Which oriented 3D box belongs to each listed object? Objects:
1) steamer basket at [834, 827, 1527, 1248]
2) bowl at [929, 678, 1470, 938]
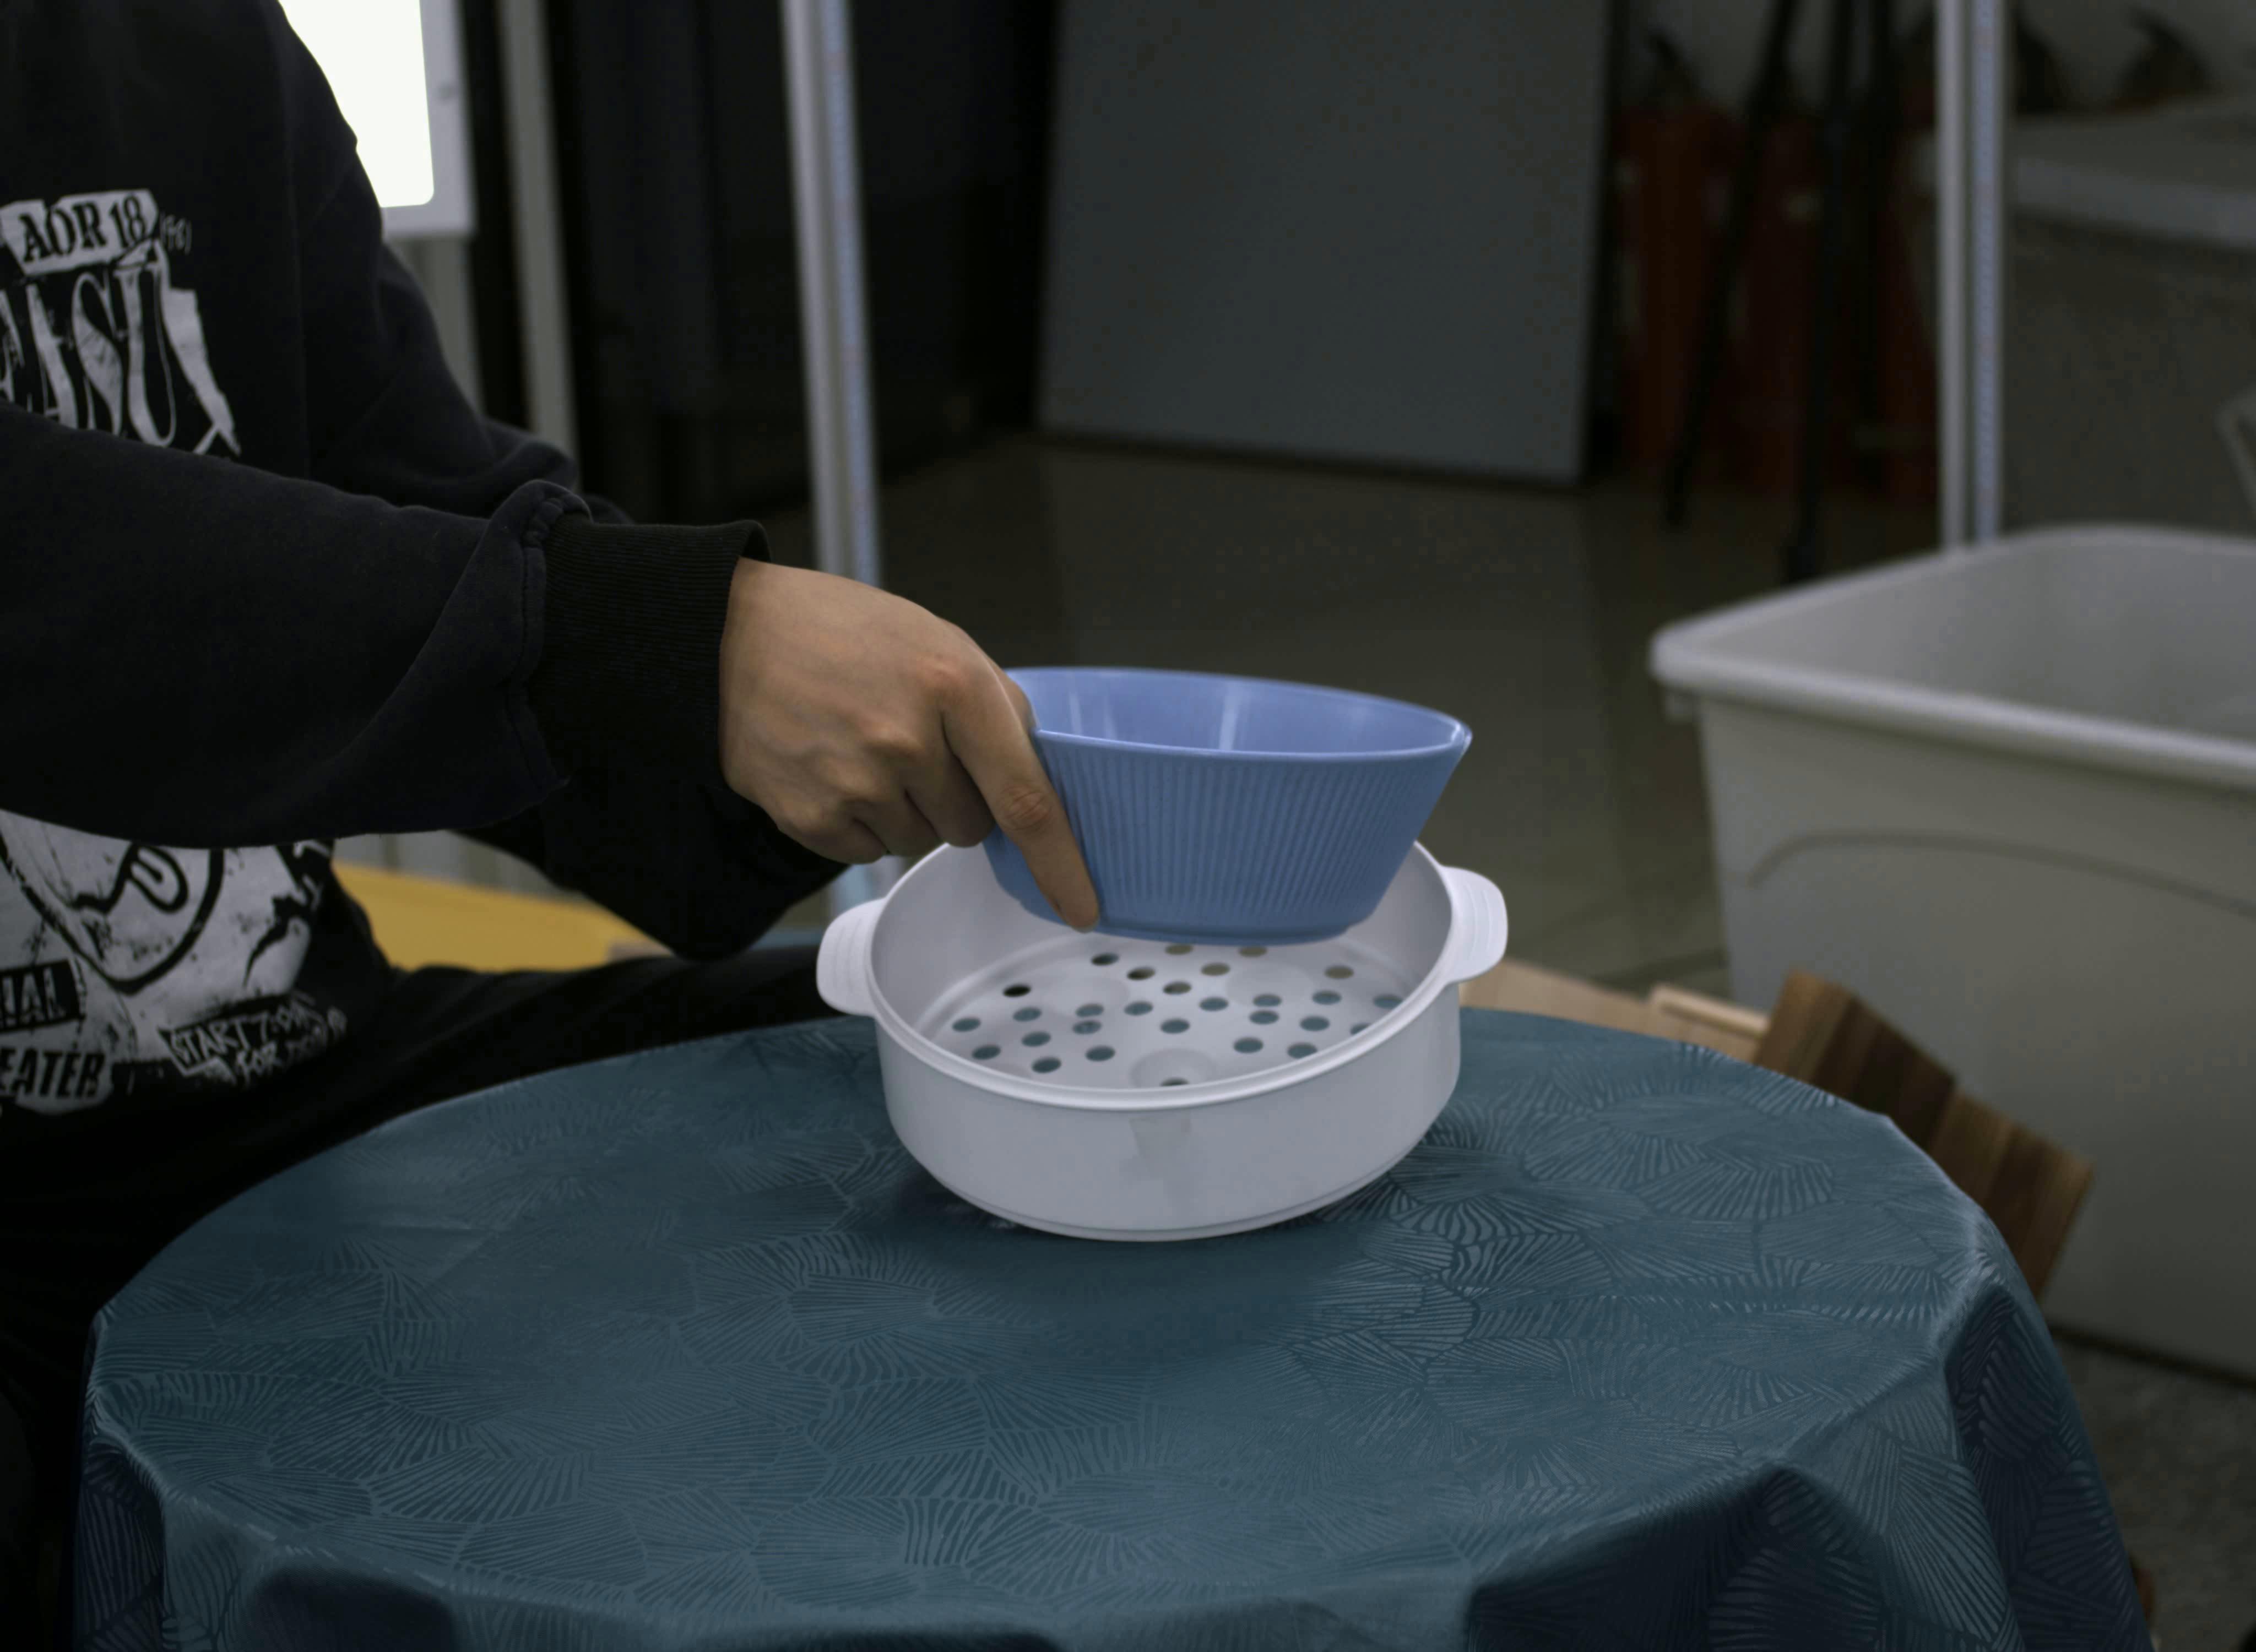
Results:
[{"bbox_3d":[0.018,0.061,1.783,0.228,0.070,0.202,-2,30,3],"label":"steamer basket"},{"bbox_3d":[0.021,-0.006,1.725,0.173,0.071,0.176,4,6,-1],"label":"bowl"}]
